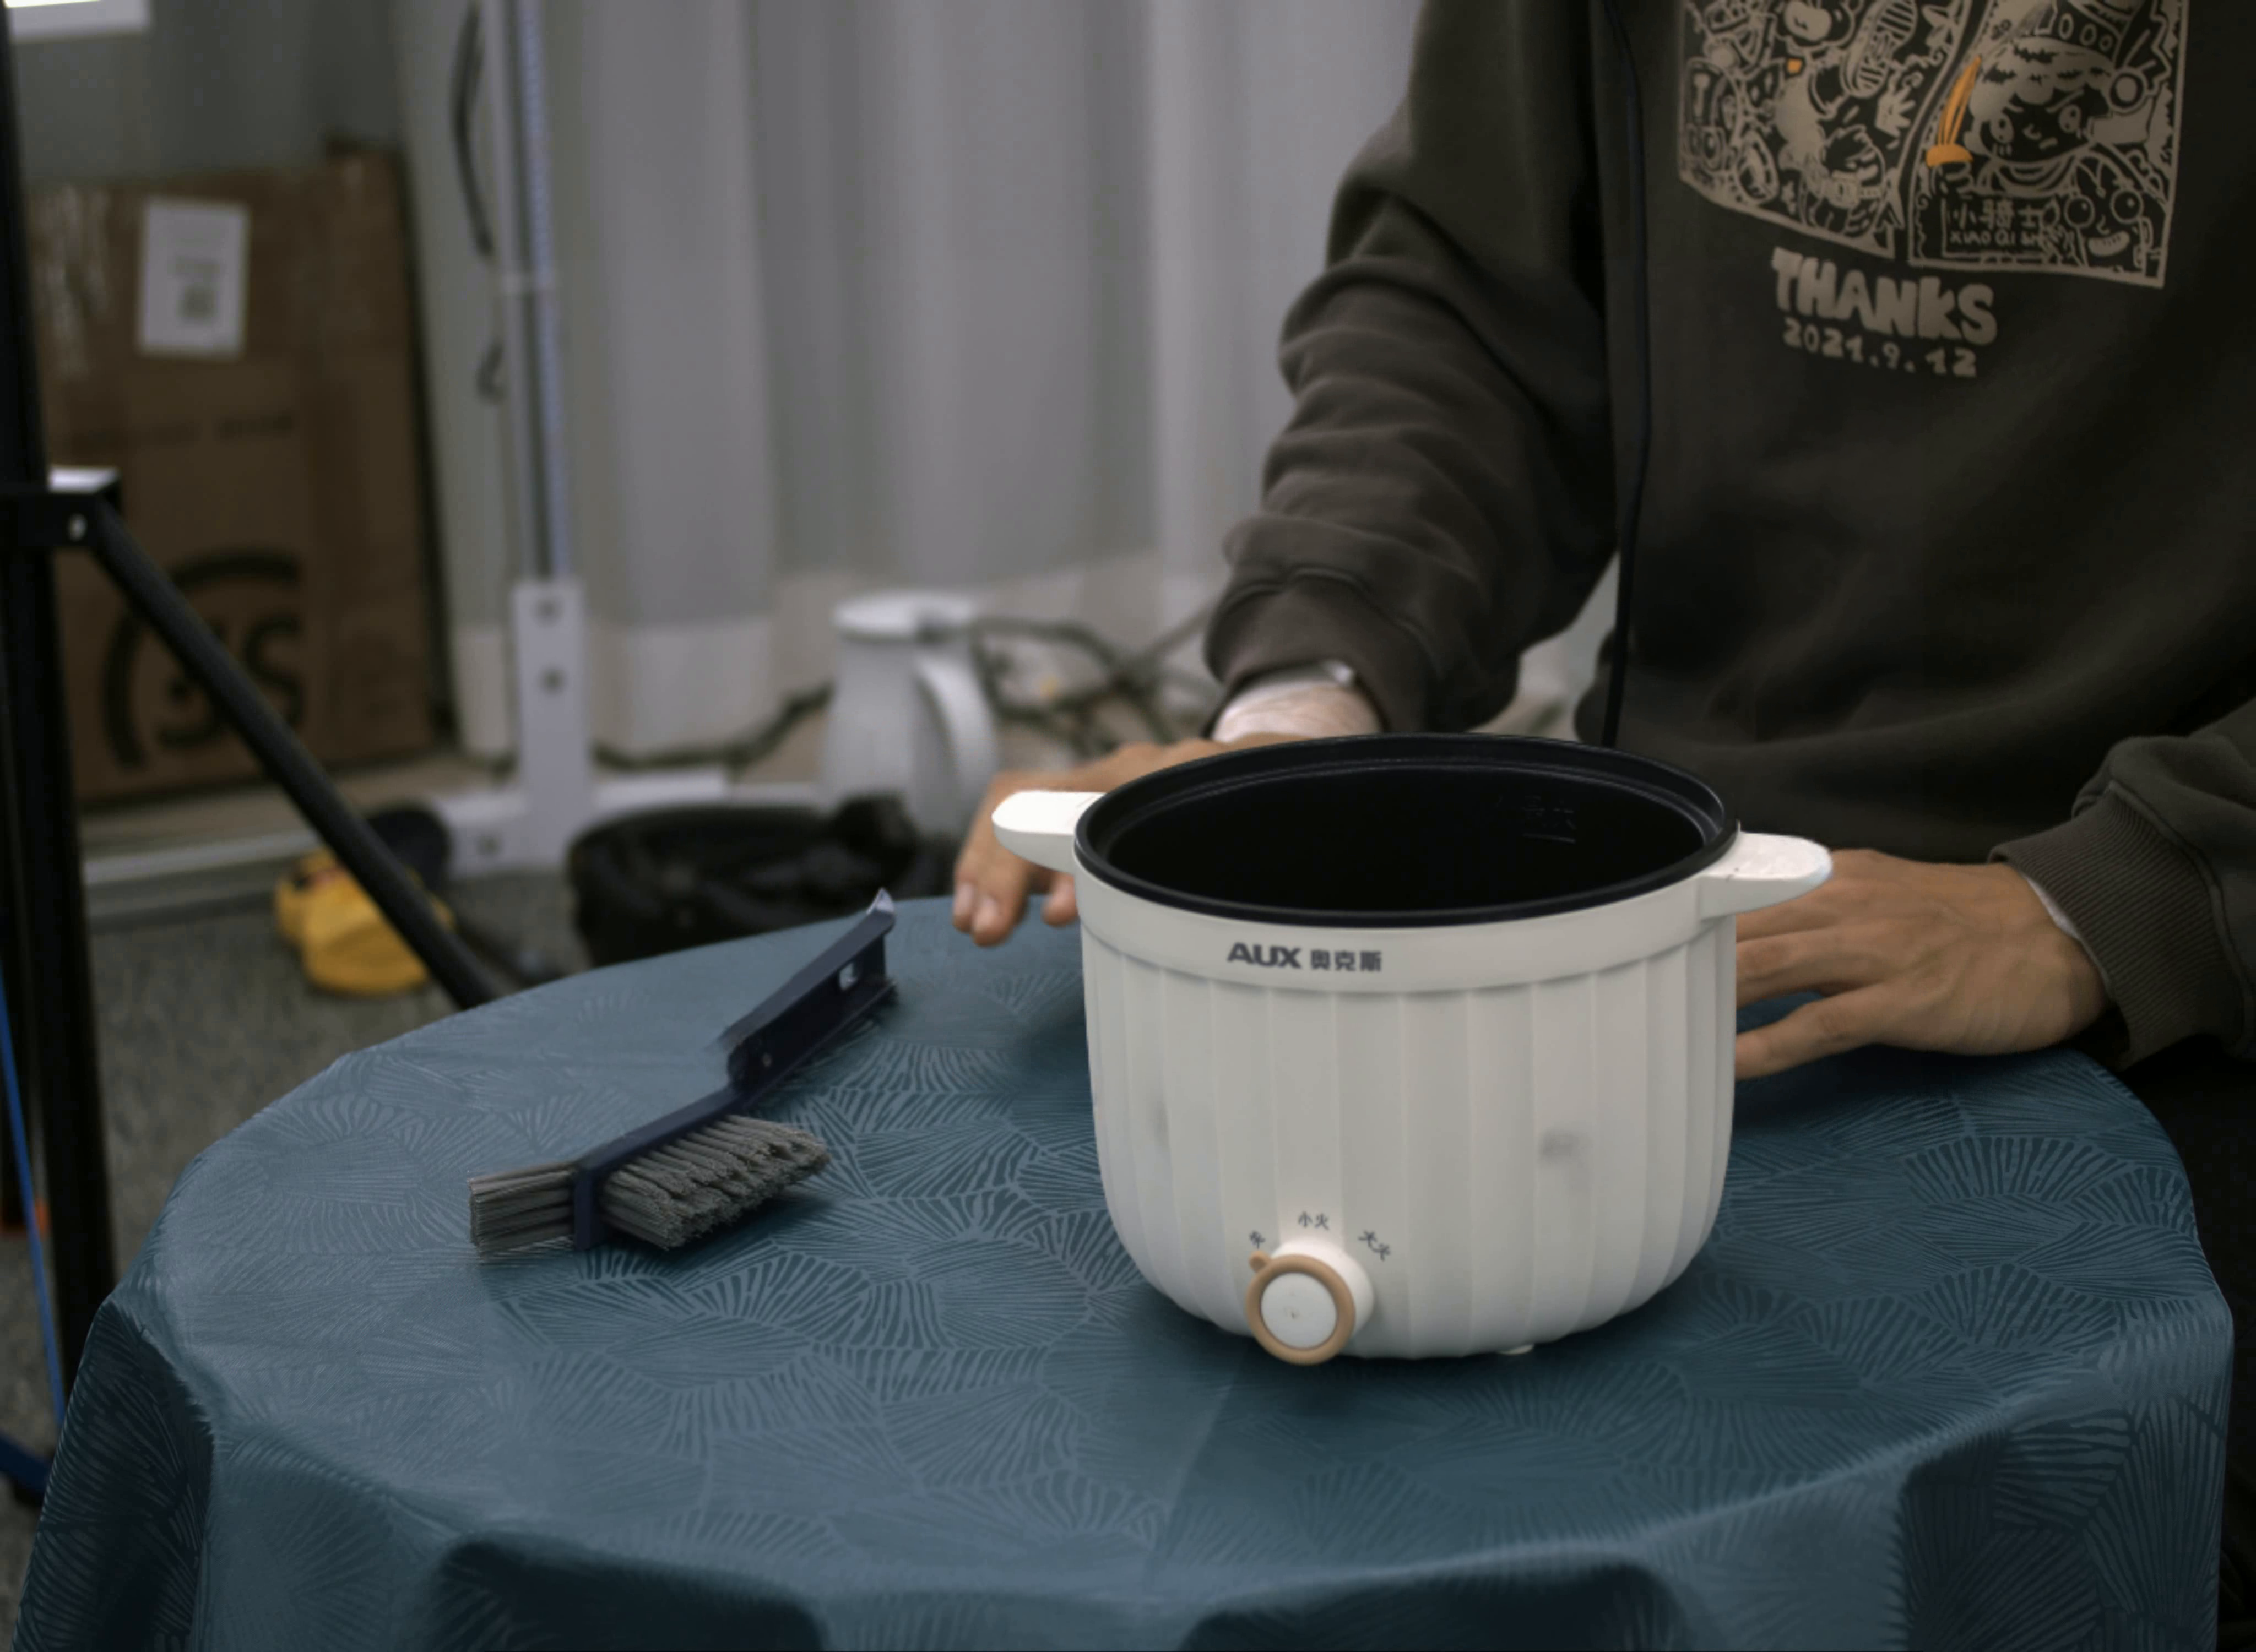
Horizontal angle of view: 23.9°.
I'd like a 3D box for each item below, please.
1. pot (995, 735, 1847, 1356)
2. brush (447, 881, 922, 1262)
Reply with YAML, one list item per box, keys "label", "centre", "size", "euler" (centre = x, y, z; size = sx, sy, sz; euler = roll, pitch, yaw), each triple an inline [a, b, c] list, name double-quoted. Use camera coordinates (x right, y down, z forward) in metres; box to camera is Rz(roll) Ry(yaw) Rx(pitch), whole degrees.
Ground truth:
- label: "pot"
  centre: [0.078, 0.063, 1.453]
  size: [0.243, 0.143, 0.188]
  euler: [2, 12, 21]
- label: "brush"
  centre: [-0.126, 0.074, 1.648]
  size: [0.096, 0.033, 0.272]
  euler: [0, 17, 12]
